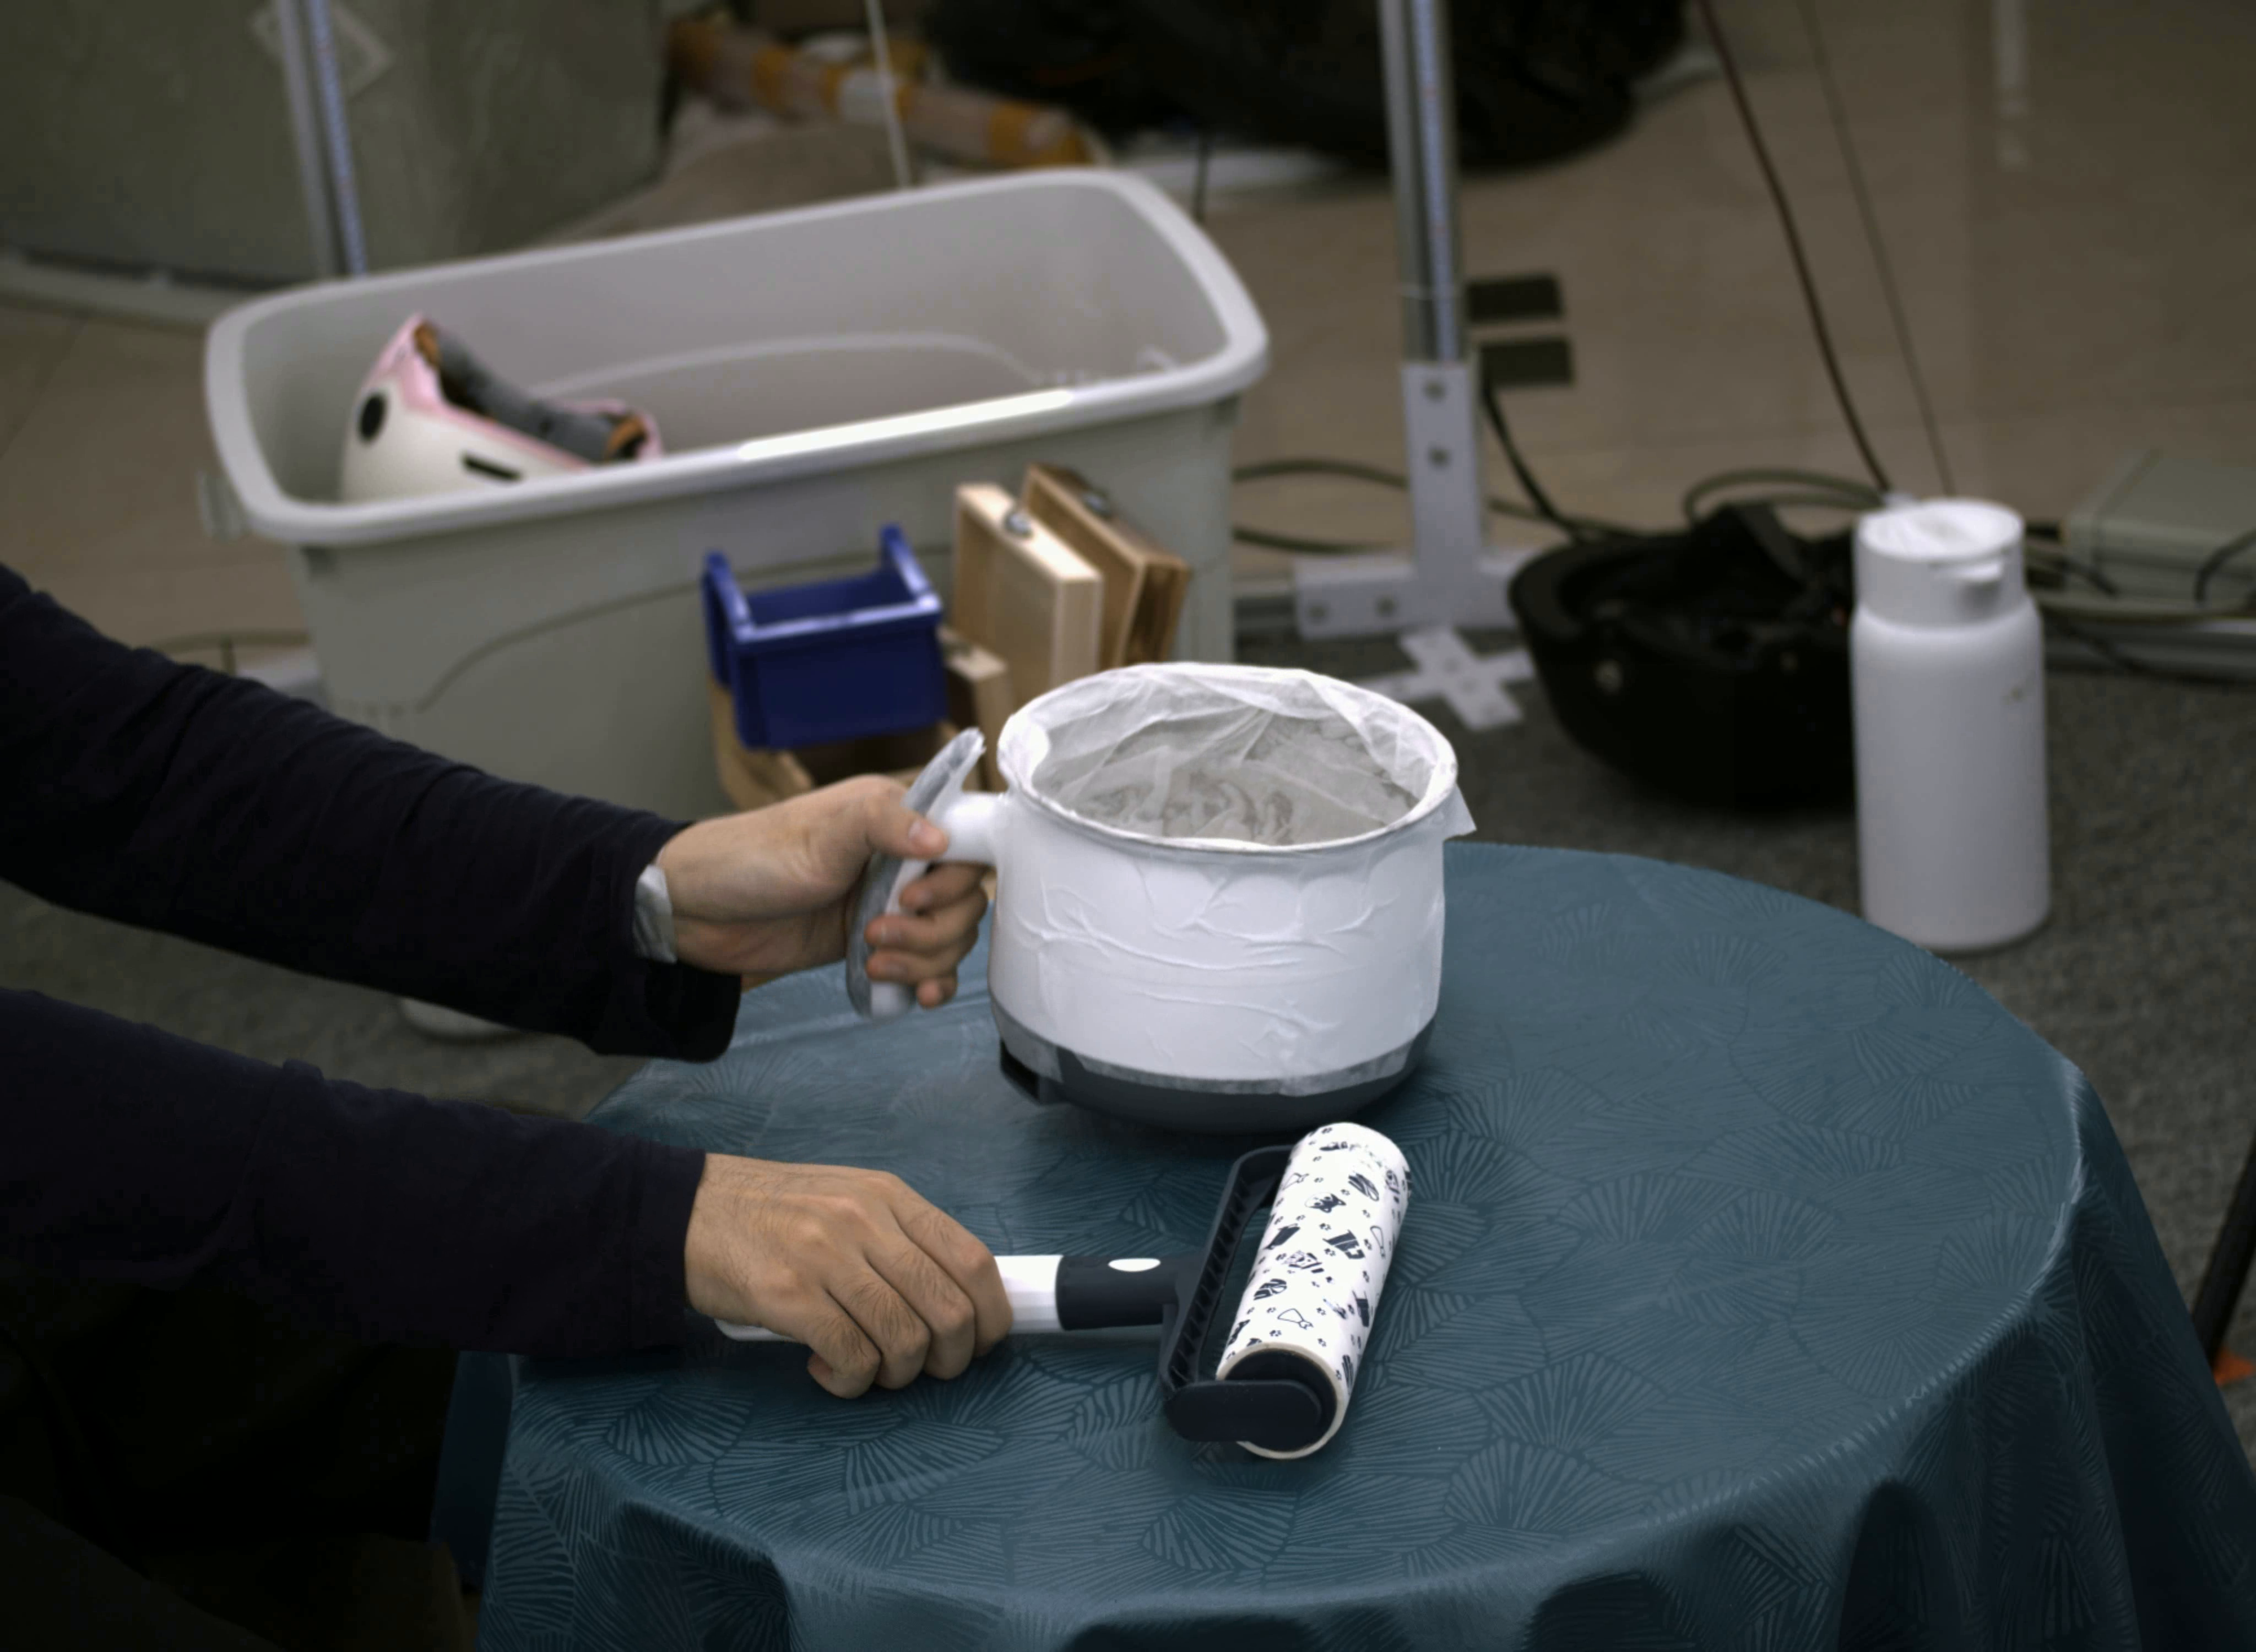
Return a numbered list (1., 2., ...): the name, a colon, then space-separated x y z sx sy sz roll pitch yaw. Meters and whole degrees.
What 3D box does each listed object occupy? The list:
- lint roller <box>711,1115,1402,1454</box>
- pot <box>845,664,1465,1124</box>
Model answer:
1. lint roller: -0.033 0.168 2.045 0.246 0.051 0.173 -3 26 13
2. pot: 0.009 0.026 2.193 0.233 0.138 0.176 3 22 -3
